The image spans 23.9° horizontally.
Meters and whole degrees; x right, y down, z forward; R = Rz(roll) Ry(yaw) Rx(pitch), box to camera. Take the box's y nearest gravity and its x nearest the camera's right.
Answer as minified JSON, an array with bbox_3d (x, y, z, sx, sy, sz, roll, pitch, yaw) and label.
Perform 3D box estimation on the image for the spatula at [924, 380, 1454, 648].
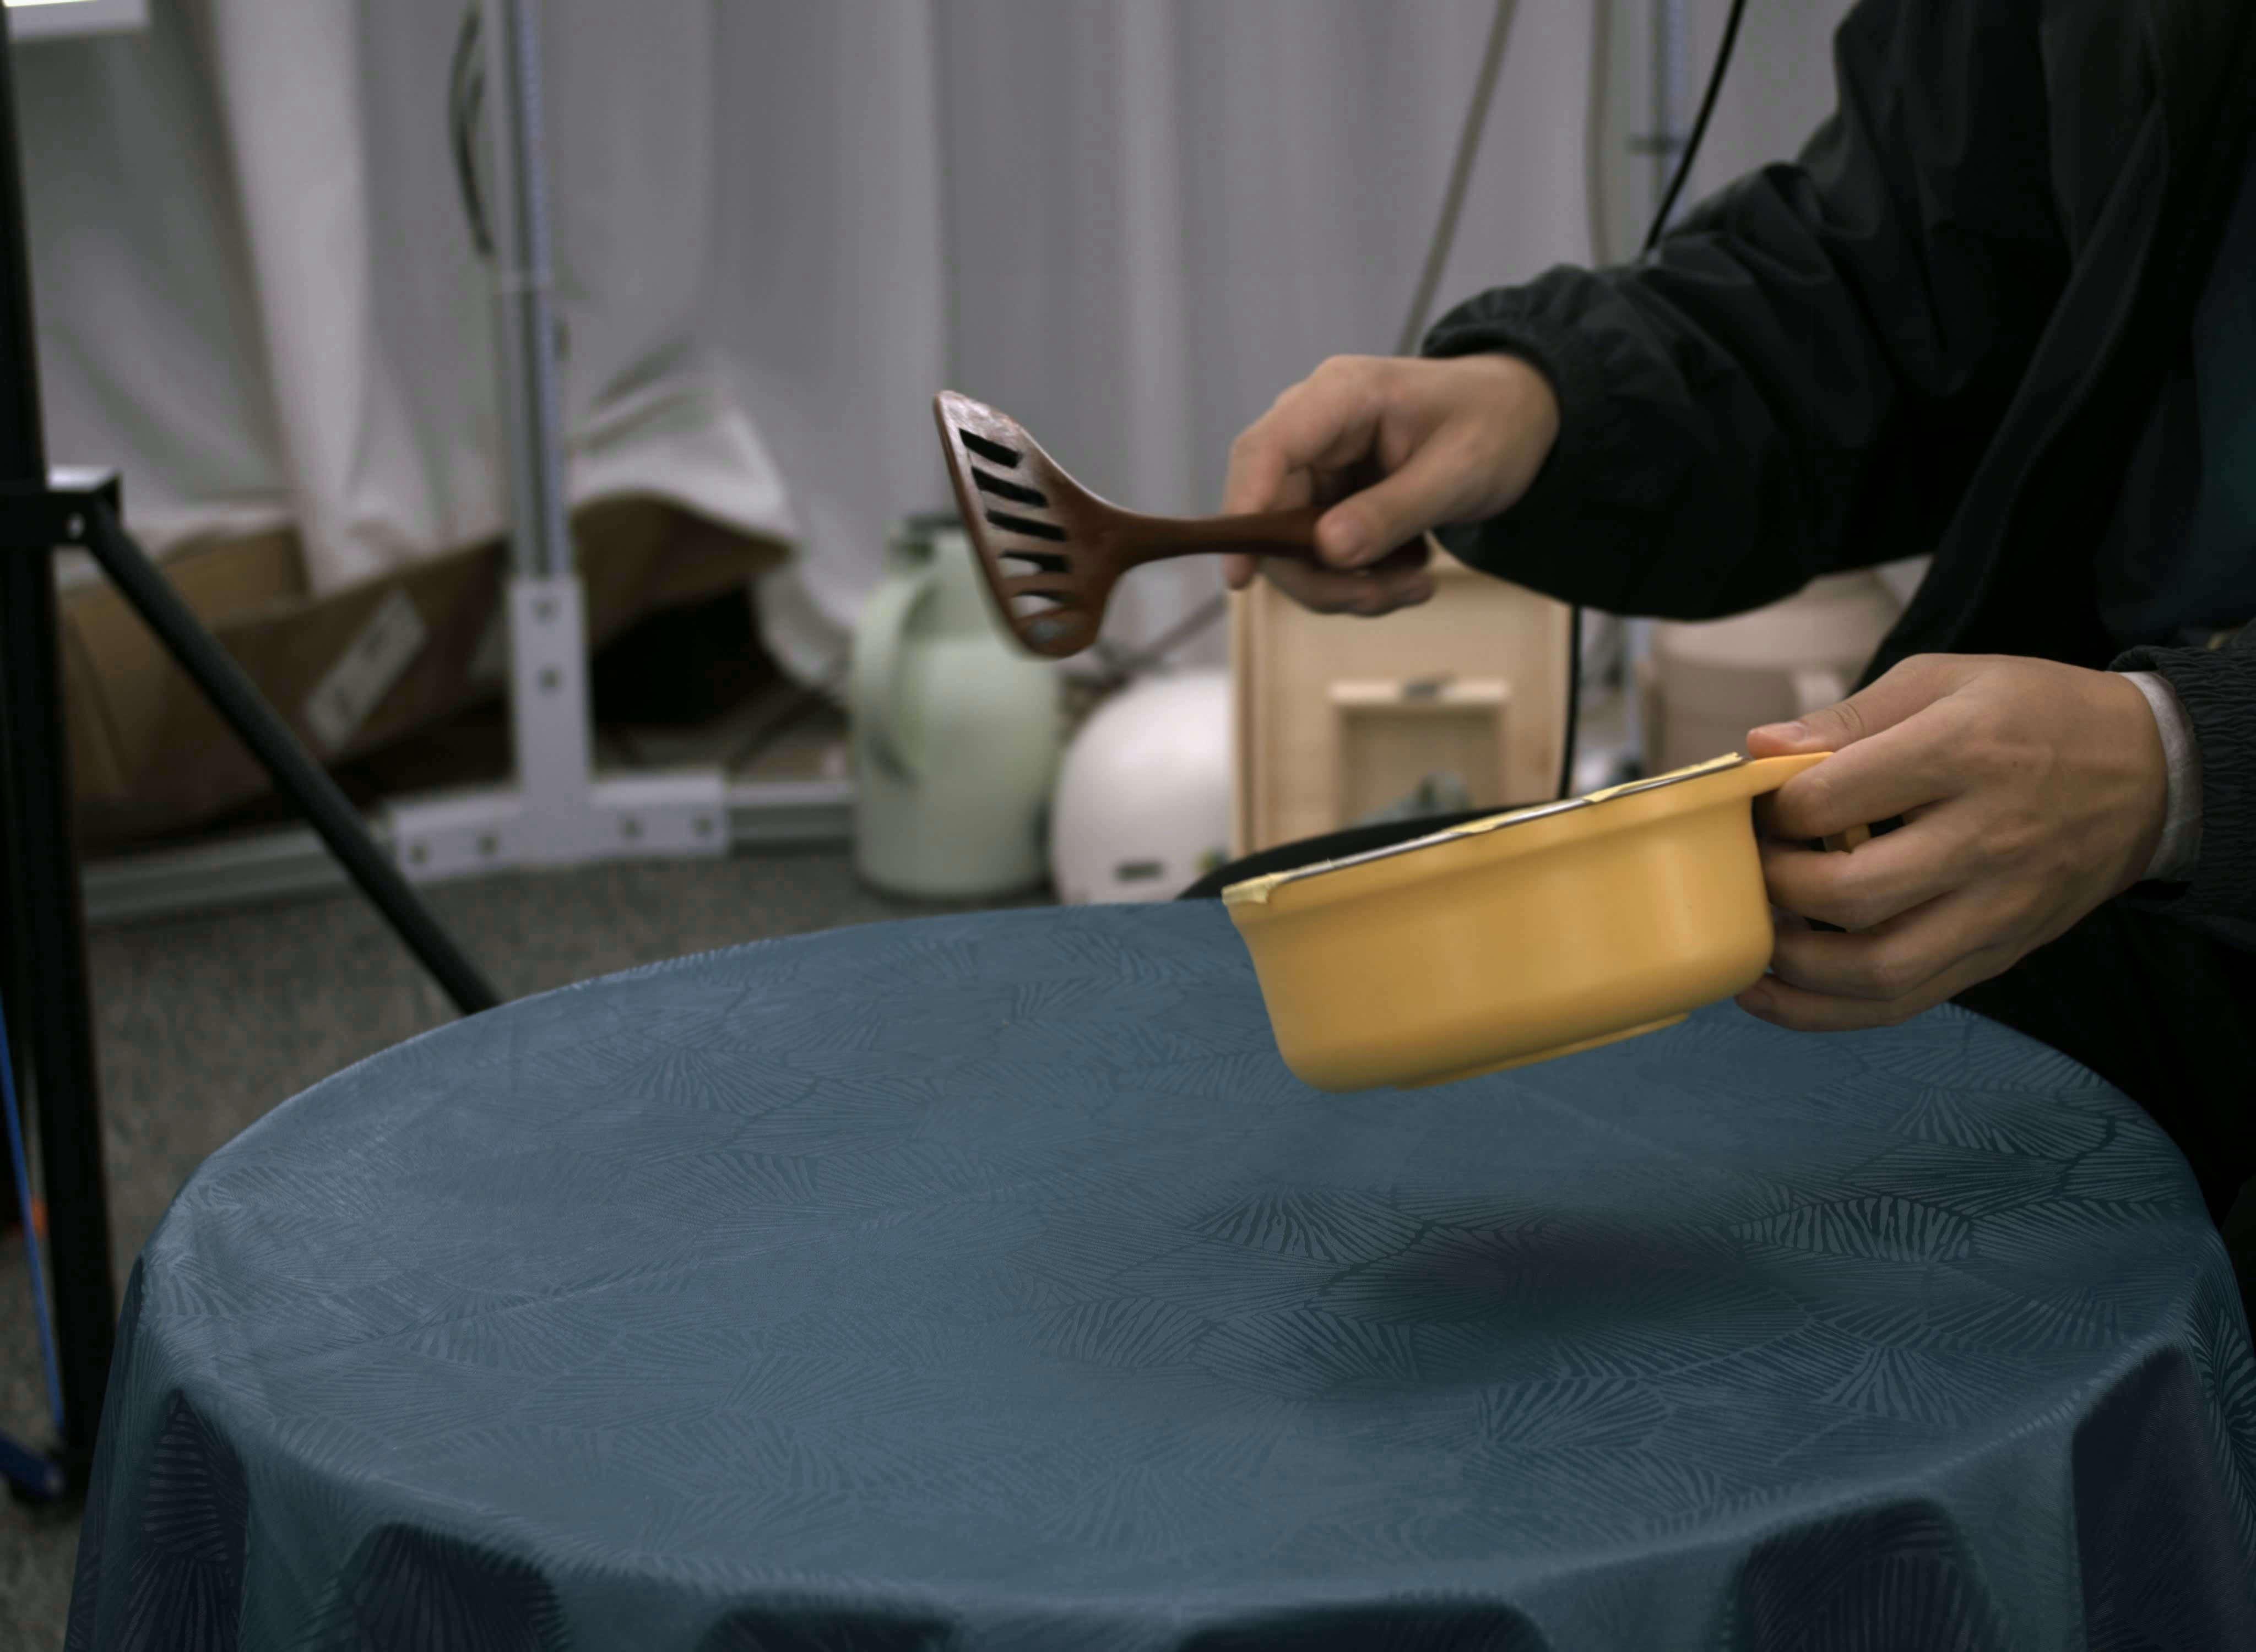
[{"bbox_3d":[0.028,-0.090,1.716,0.024,0.086,0.379,-30,-13,23],"label":"spatula"}]

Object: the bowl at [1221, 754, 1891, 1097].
[{"bbox_3d":[0.120,0.028,1.475,0.177,0.074,0.154,-14,-1,-10],"label":"bowl"}]
